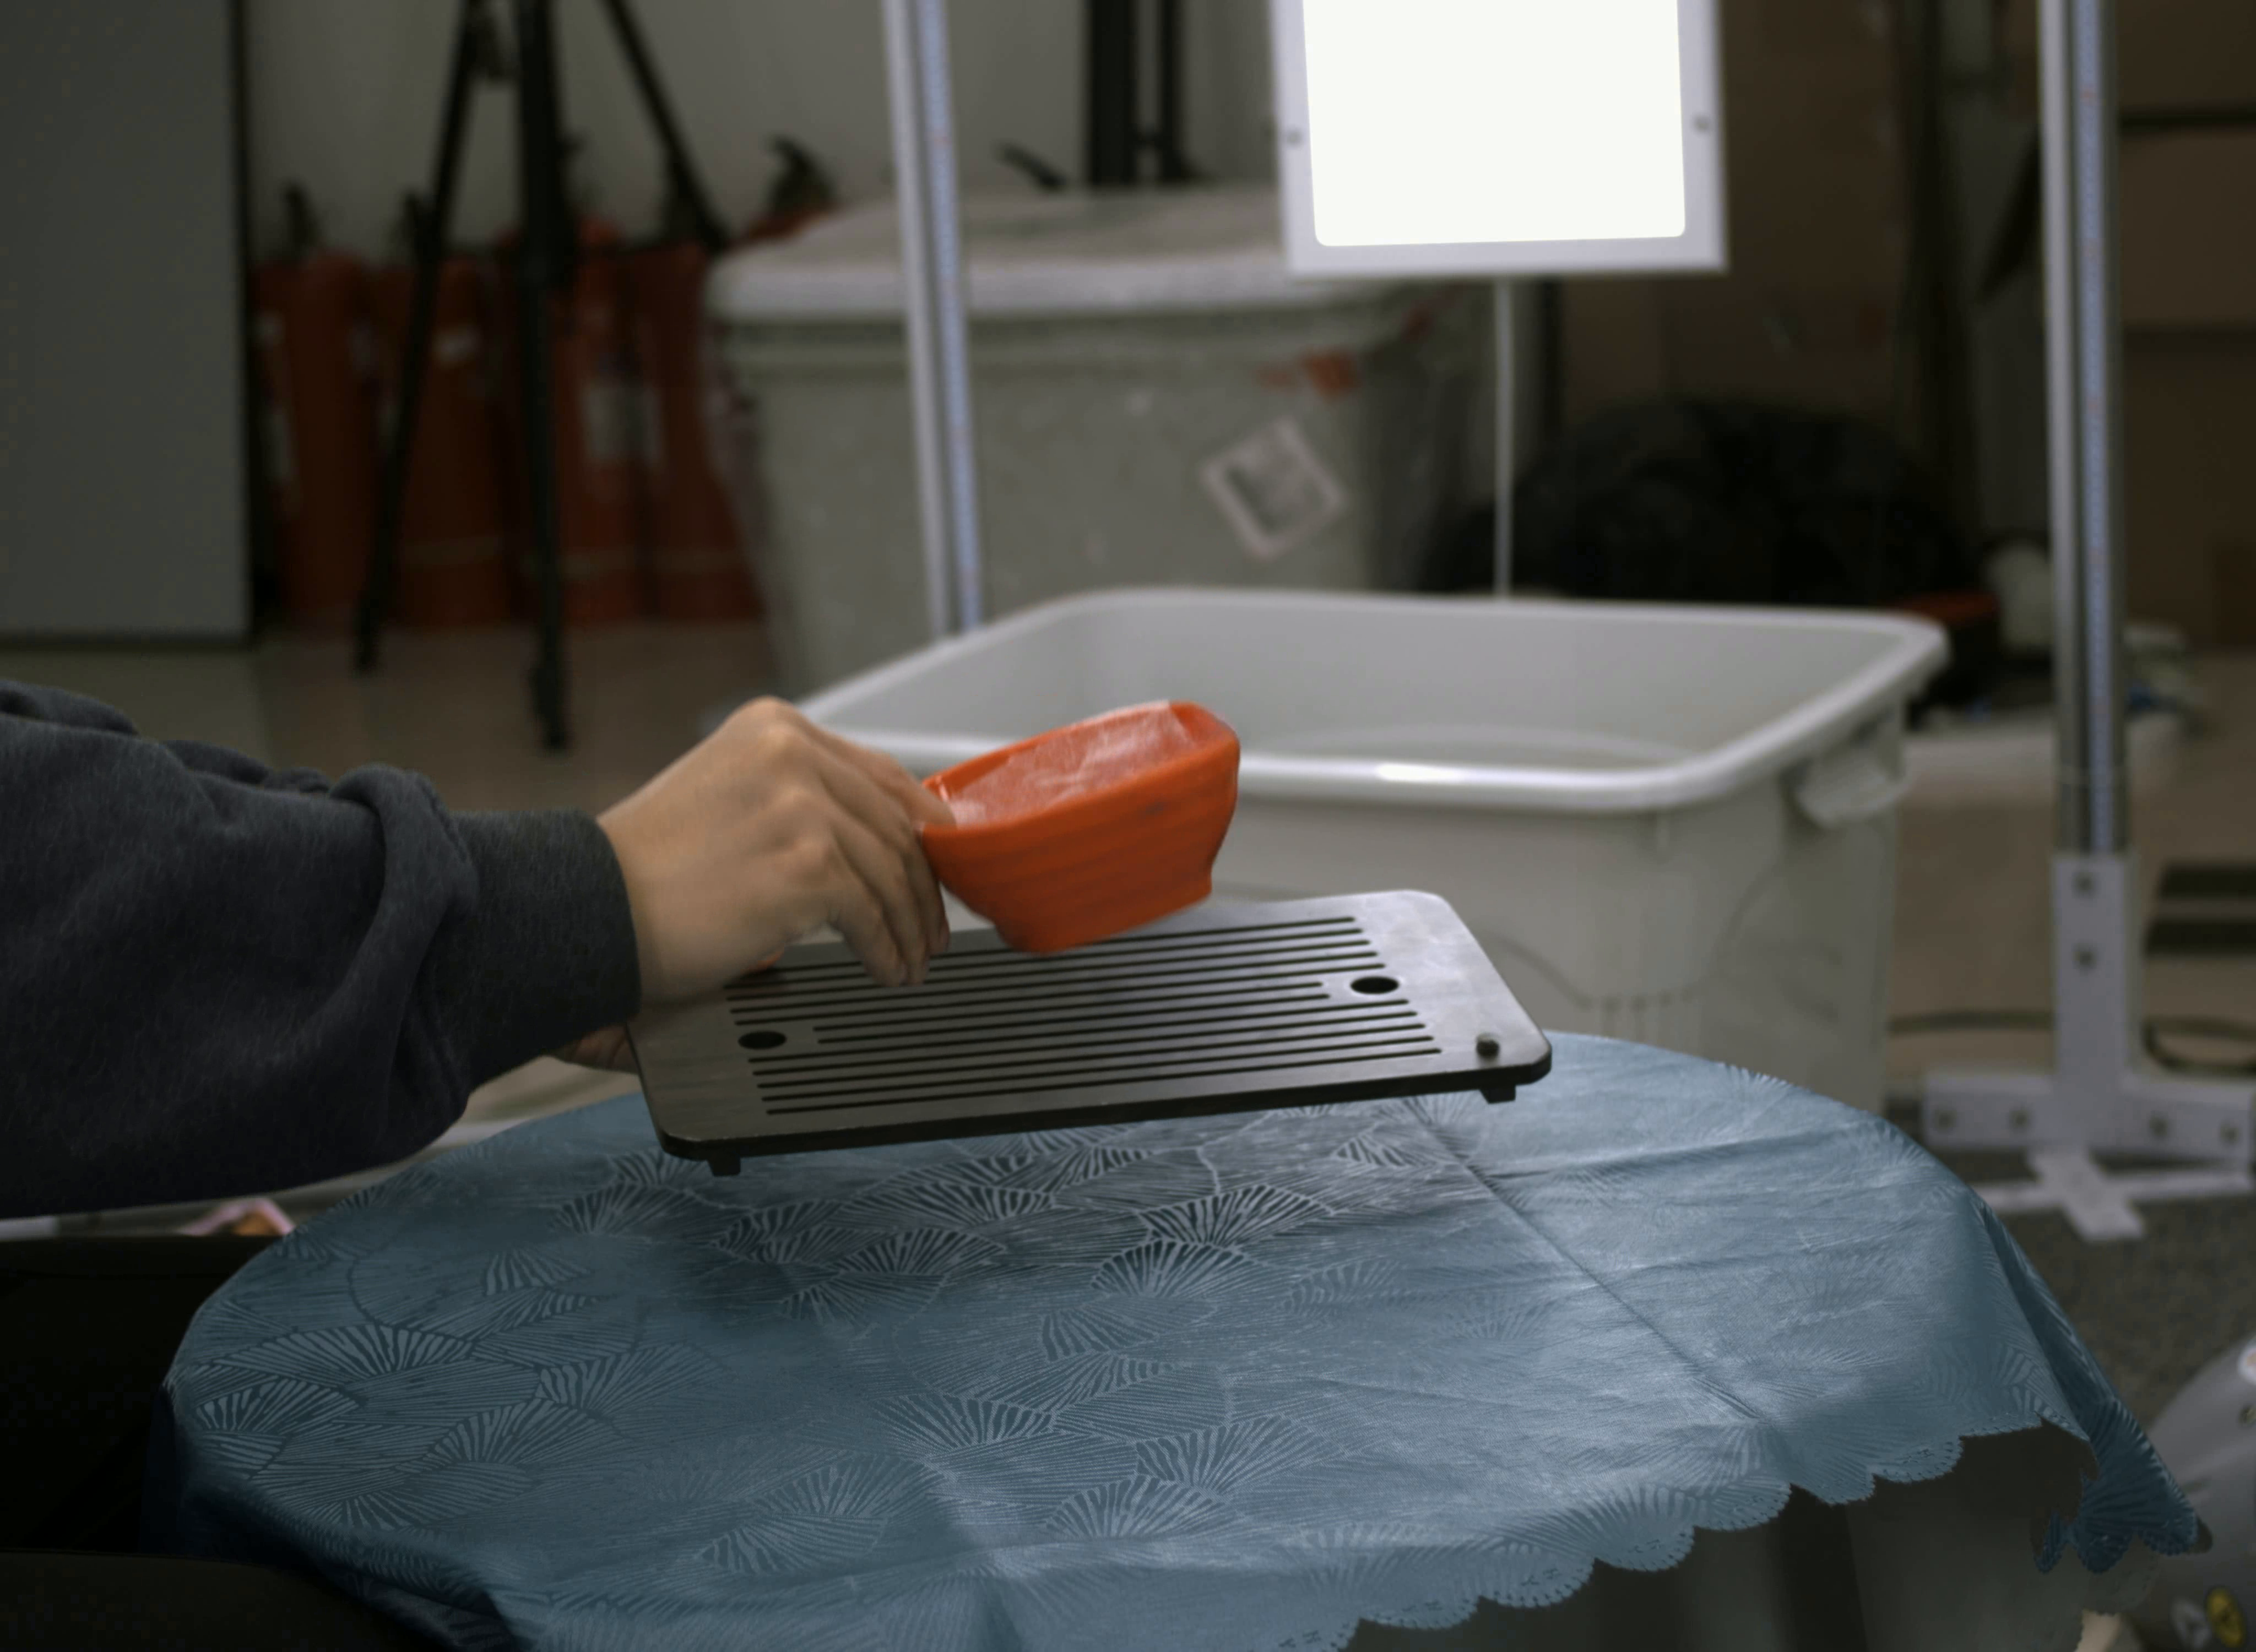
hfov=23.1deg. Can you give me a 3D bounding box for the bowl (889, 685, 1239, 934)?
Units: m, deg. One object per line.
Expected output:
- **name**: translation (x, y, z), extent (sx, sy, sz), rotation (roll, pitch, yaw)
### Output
- **bowl**: translation (-0.015, -0.003, 1.722), extent (0.119, 0.051, 0.119), rotation (-15, 12, 2)

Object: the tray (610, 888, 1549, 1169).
- **tray**: translation (-0.020, 0.069, 1.900), extent (0.303, 0.019, 0.171), rotation (-5, 20, -8)
